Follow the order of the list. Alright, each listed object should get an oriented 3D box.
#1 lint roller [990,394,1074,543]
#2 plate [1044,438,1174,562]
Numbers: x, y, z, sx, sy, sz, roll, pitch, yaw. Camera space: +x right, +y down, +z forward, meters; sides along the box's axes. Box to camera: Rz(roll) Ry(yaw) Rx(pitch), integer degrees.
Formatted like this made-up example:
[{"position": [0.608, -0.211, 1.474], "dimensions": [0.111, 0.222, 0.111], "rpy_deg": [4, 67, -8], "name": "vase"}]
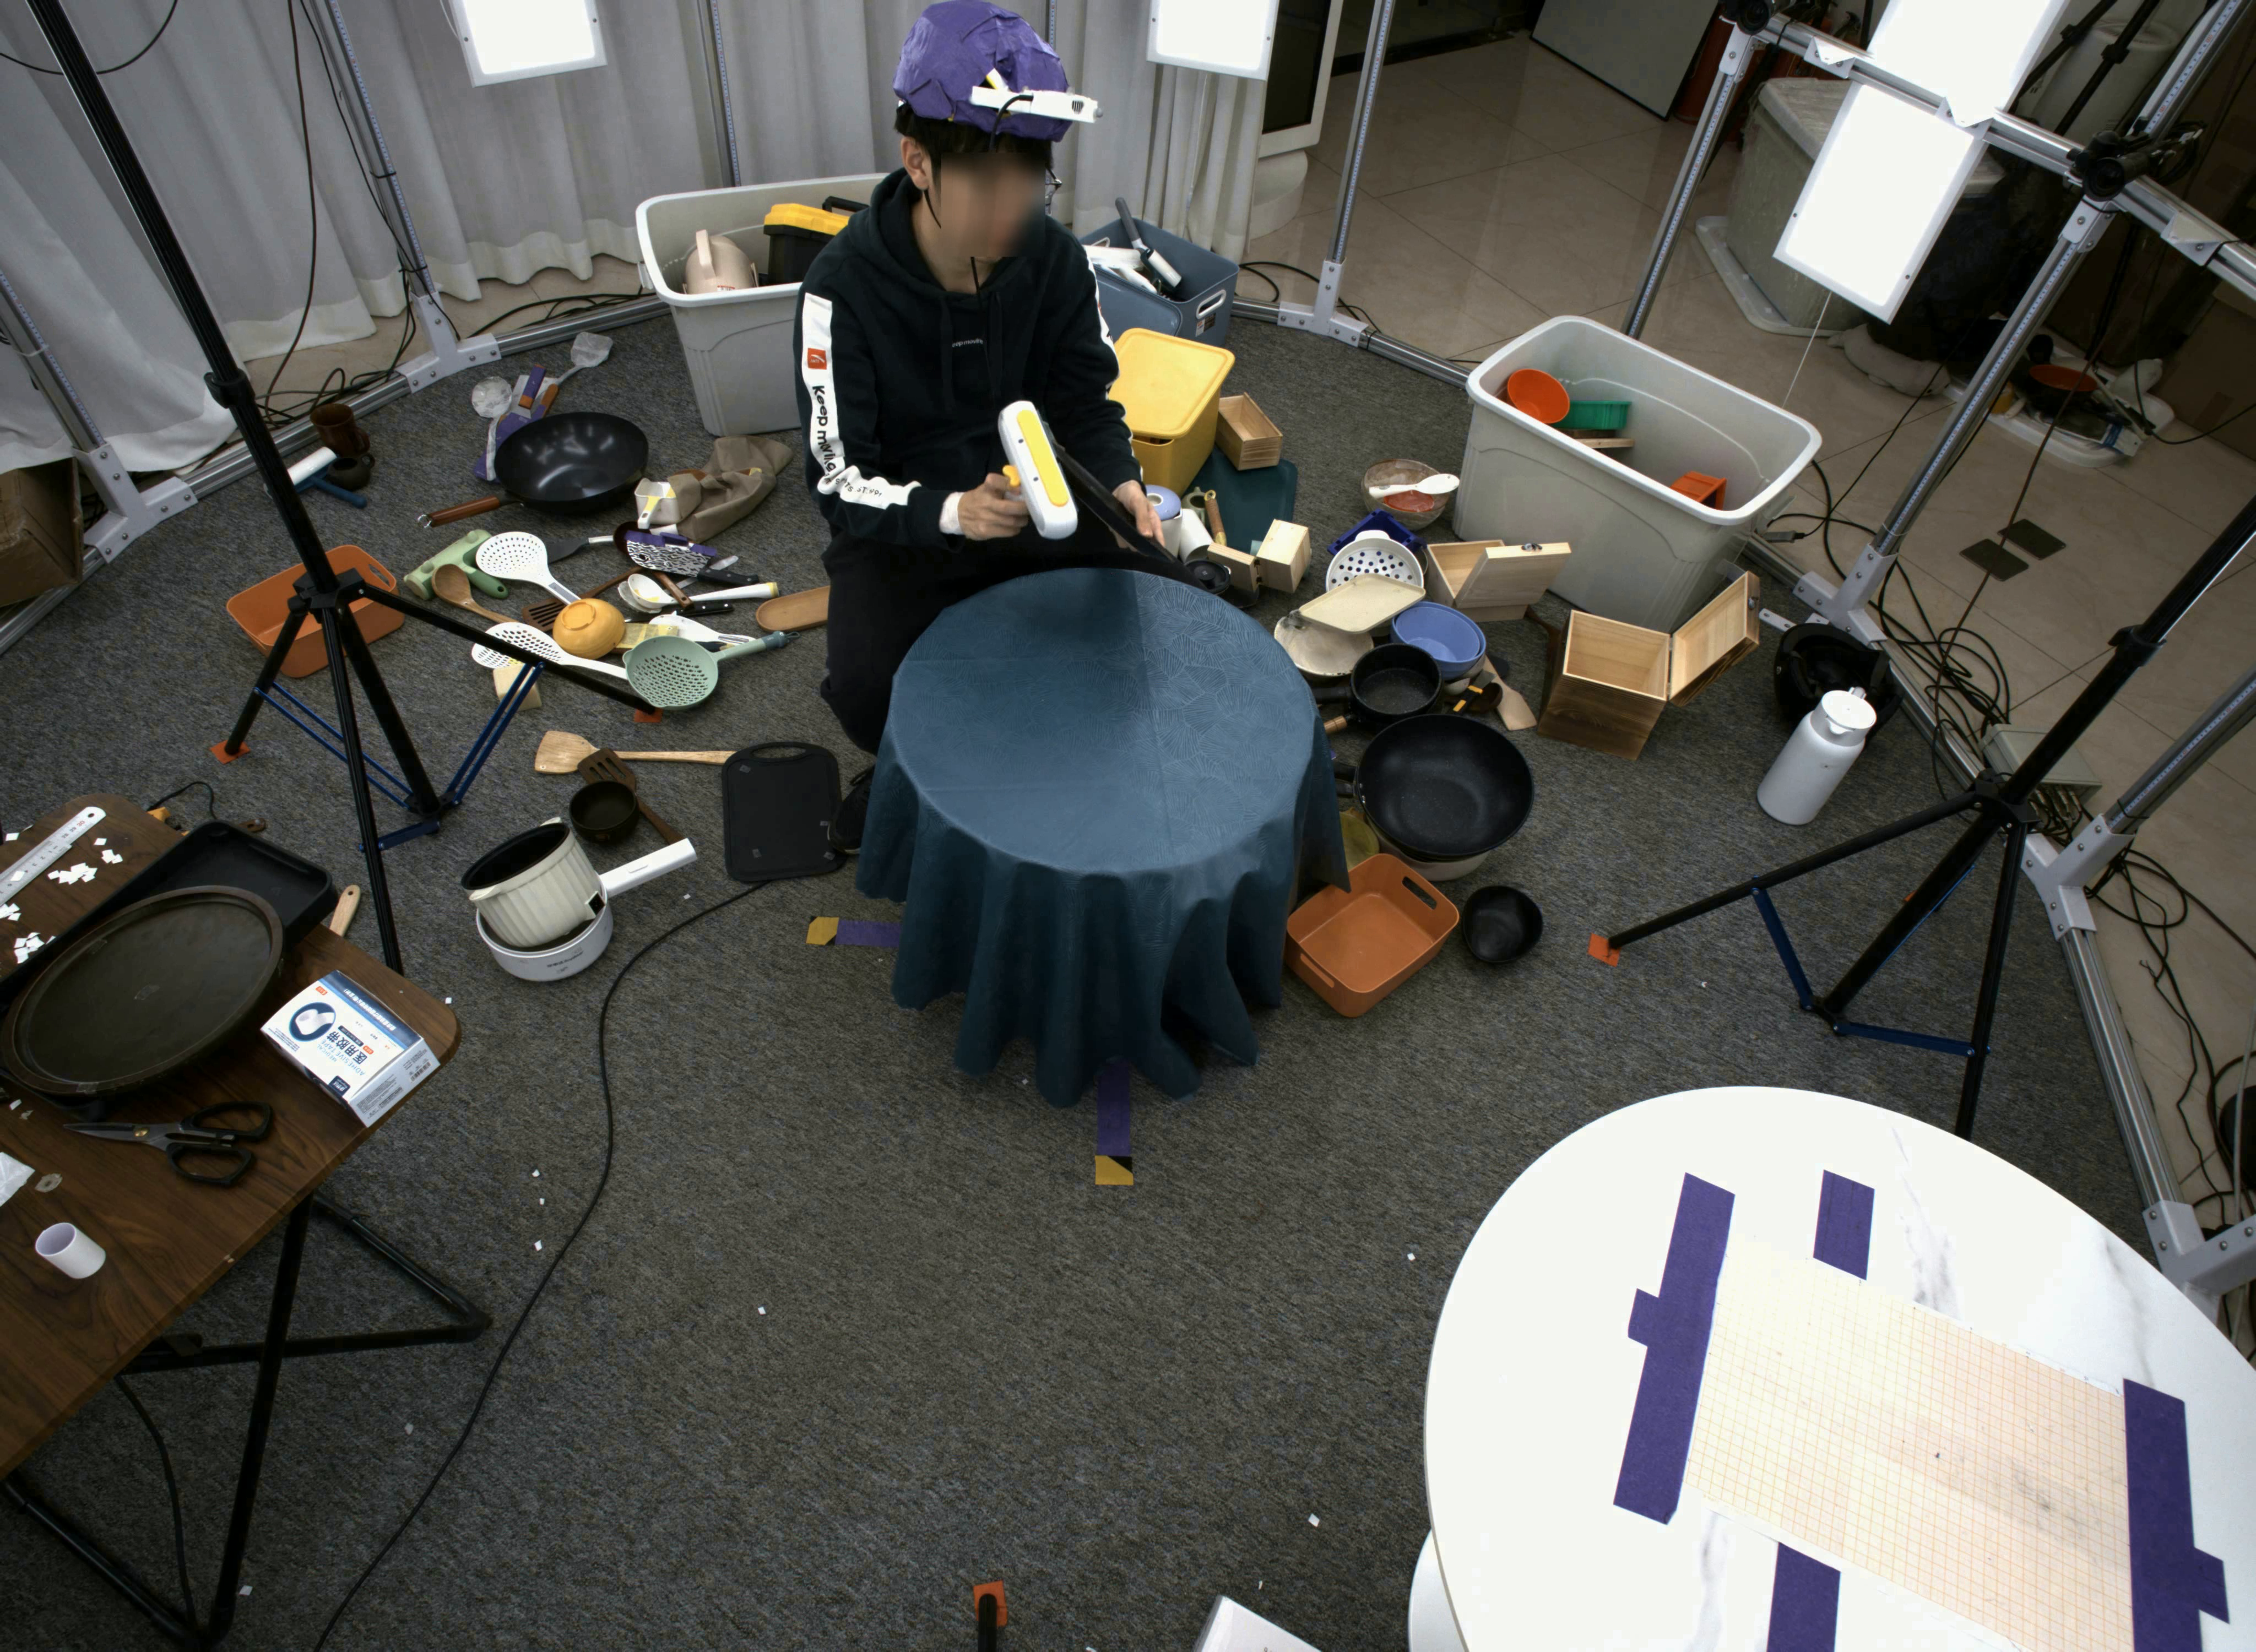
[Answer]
[{"position": [-0.143, -0.453, 1.751], "dimensions": [0.074, 0.189, 0.195], "rpy_deg": [-22, 76, -21], "name": "lint roller"}, {"position": [-0.031, -0.448, 1.804], "dimensions": [0.023, 0.241, 0.249], "rpy_deg": [-46, 57, 13], "name": "plate"}]
